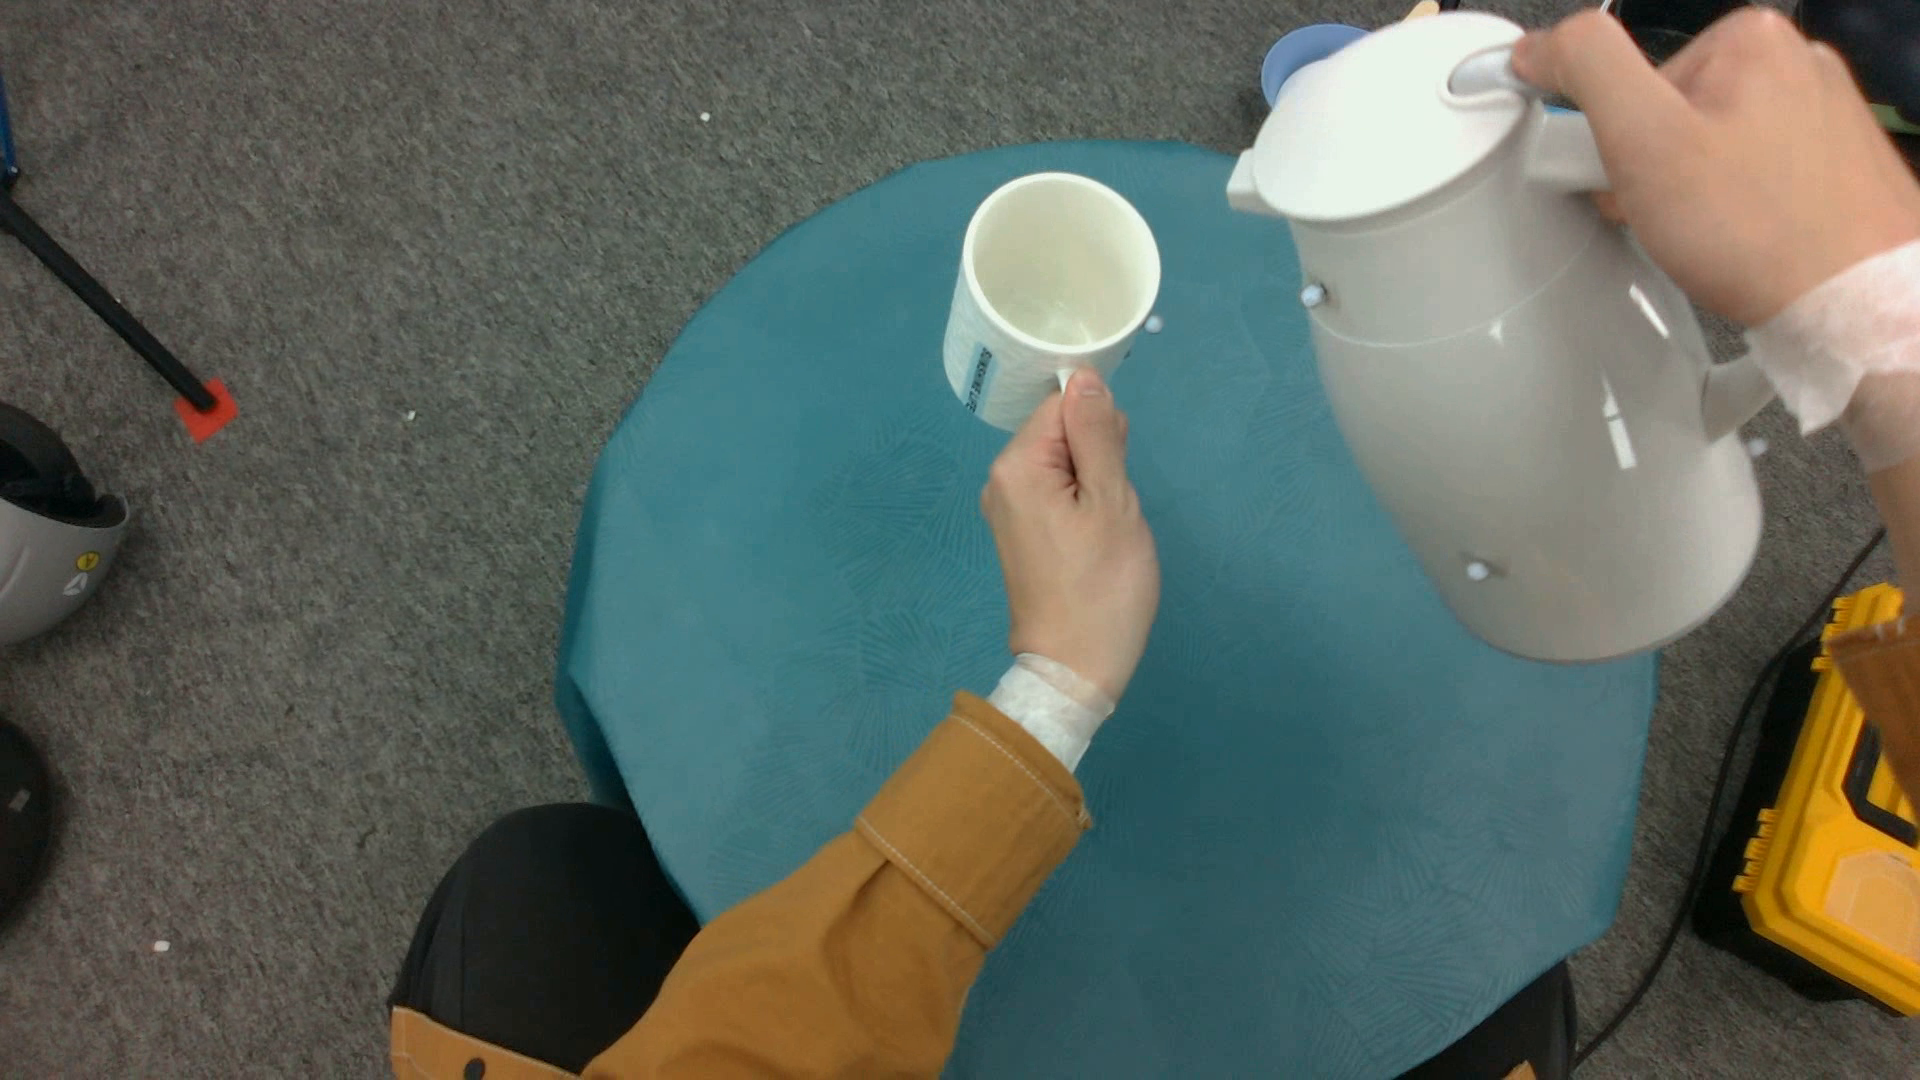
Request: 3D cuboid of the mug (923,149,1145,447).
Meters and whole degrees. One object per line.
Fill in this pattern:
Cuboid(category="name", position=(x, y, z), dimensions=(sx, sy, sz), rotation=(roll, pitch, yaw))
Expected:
Cuboid(category="mug", position=(0.034, -0.099, 0.626), dimensions=(0.085, 0.101, 0.118), rotation=(-9, 72, -13))

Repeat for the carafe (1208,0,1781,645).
Cuboid(category="carafe", position=(0.207, -0.080, 0.503), dimensions=(0.167, 0.248, 0.133), rotation=(0, 56, 40))
